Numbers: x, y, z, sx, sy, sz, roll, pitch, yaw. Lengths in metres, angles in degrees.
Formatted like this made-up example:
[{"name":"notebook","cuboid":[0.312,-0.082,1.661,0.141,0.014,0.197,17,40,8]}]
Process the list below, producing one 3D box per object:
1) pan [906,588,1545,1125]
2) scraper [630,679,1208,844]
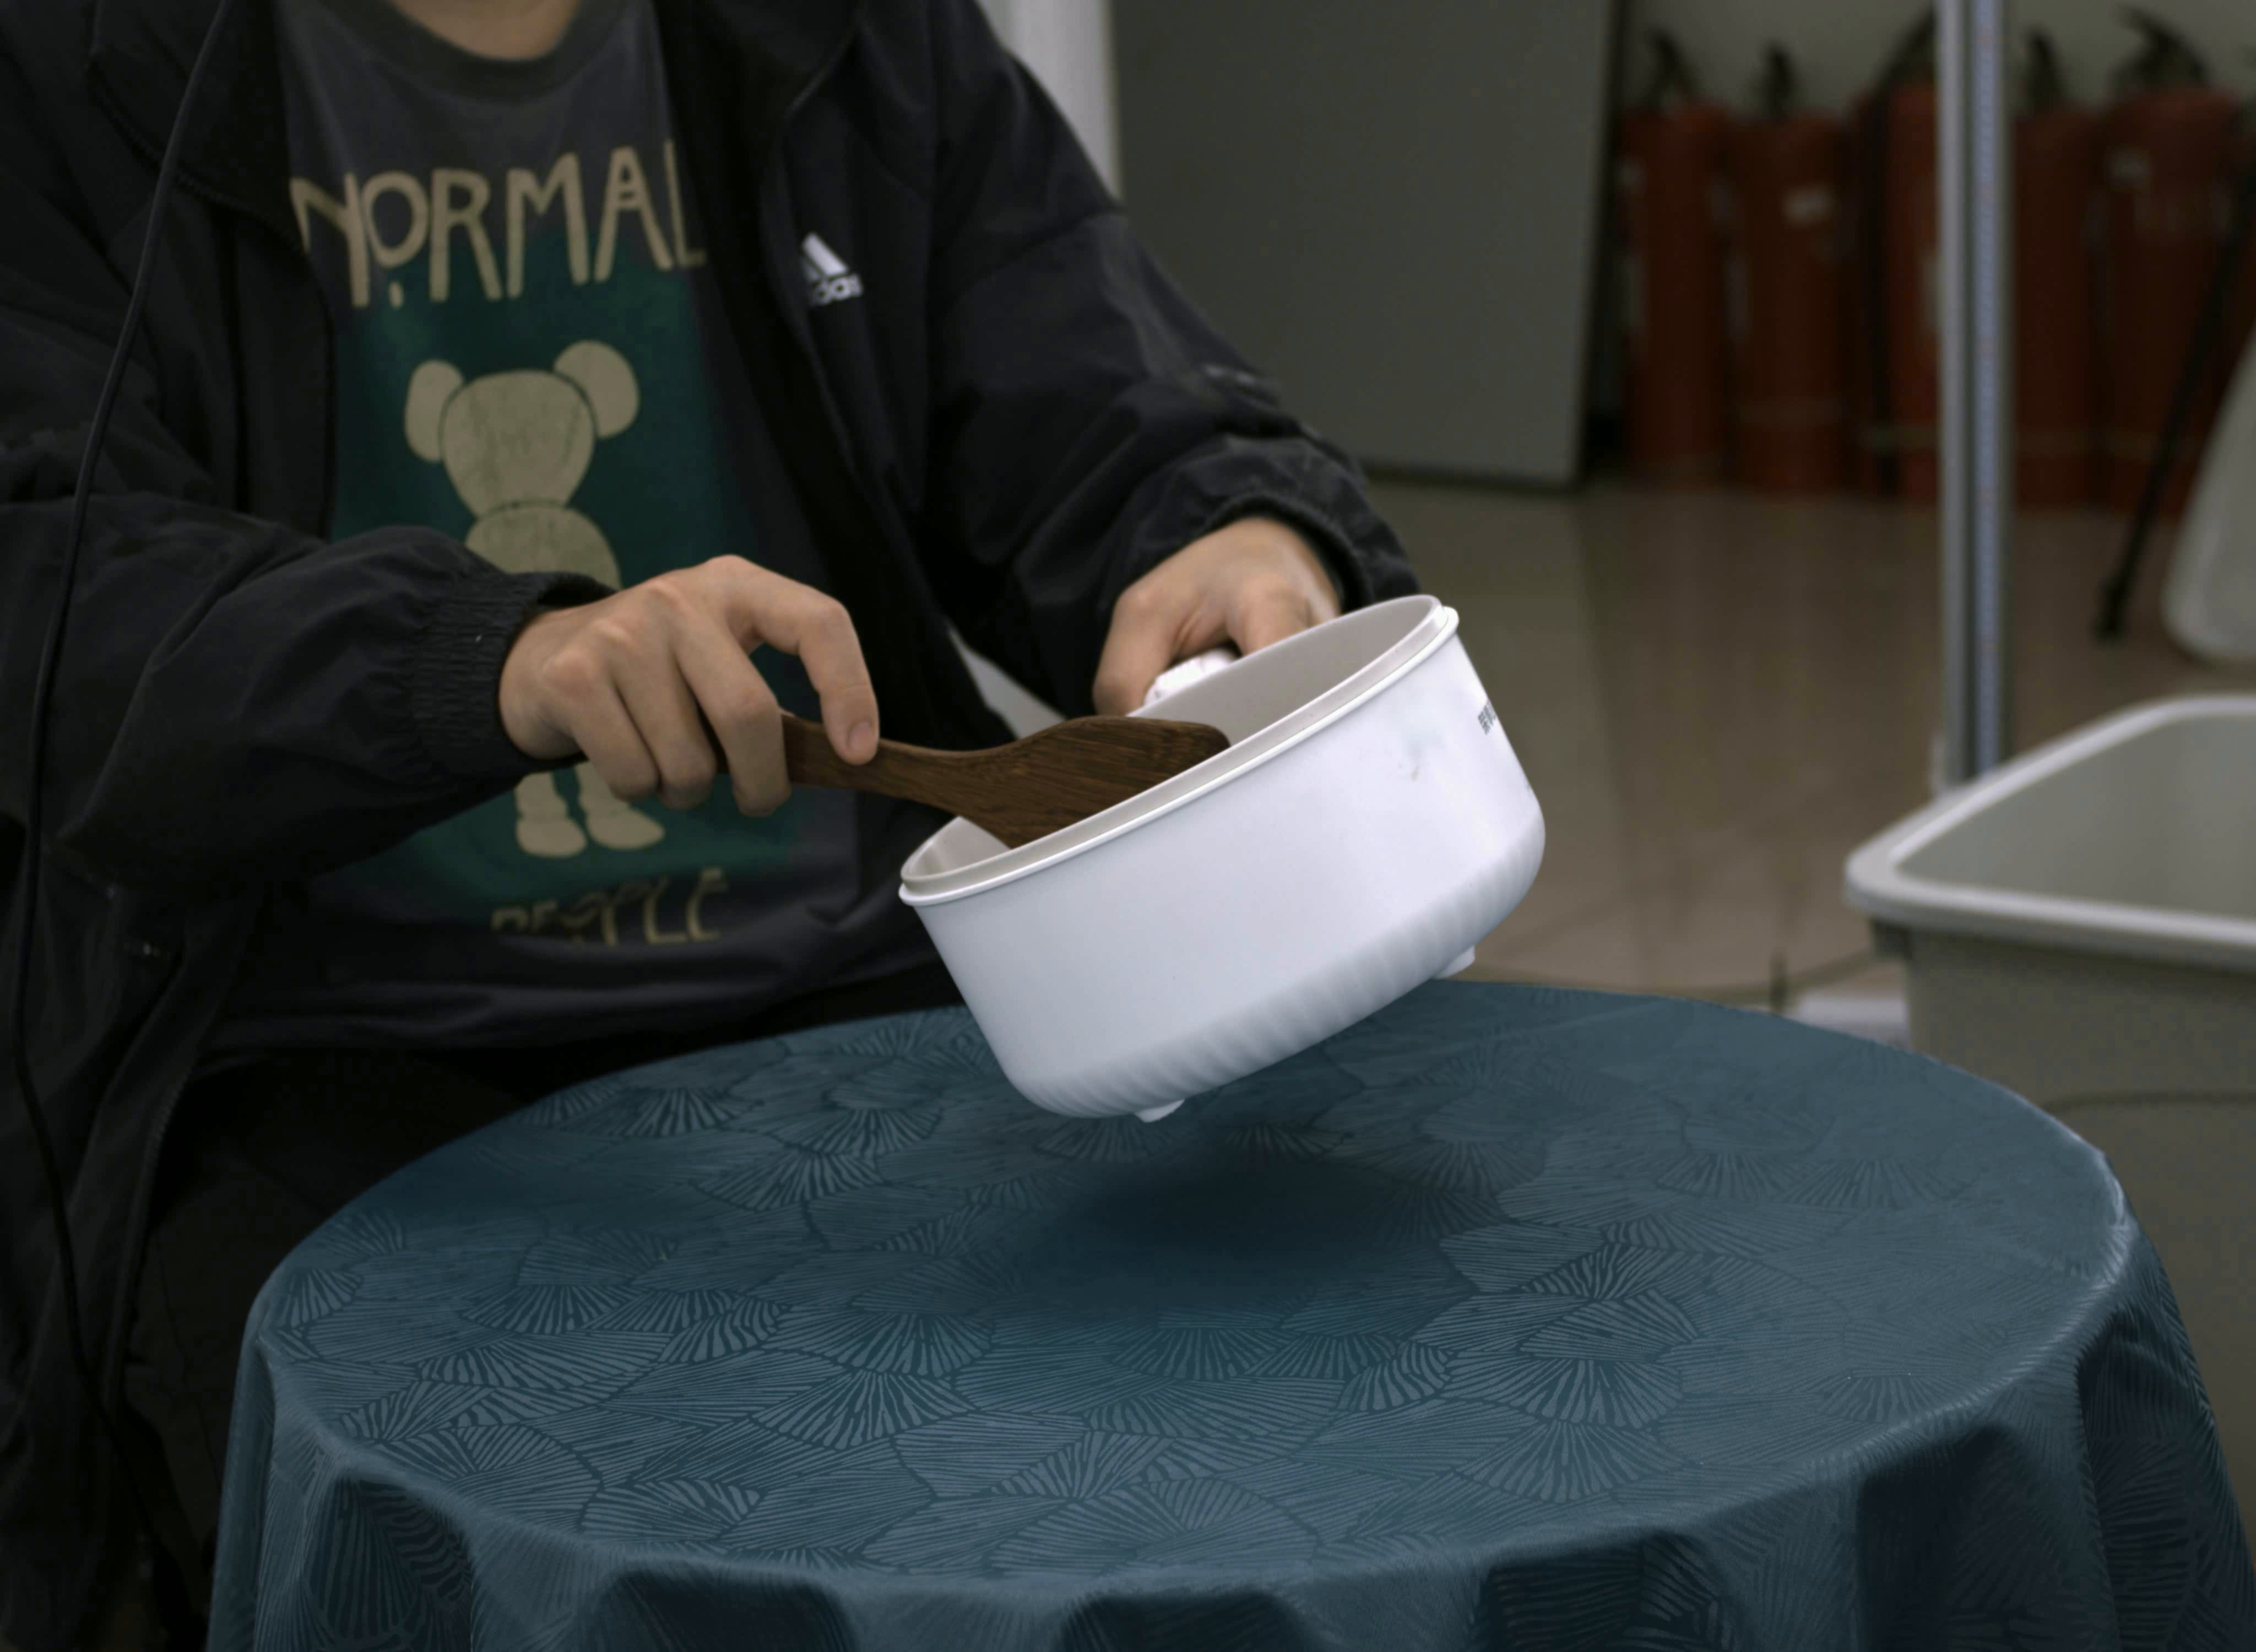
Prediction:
[{"name":"pan","cuboid":[0.039,0.005,1.805,0.200,0.102,0.354,-28,6,6]},{"name":"scraper","cuboid":[-0.069,-0.018,1.750,0.211,0.076,0.011,11,27,23]}]
